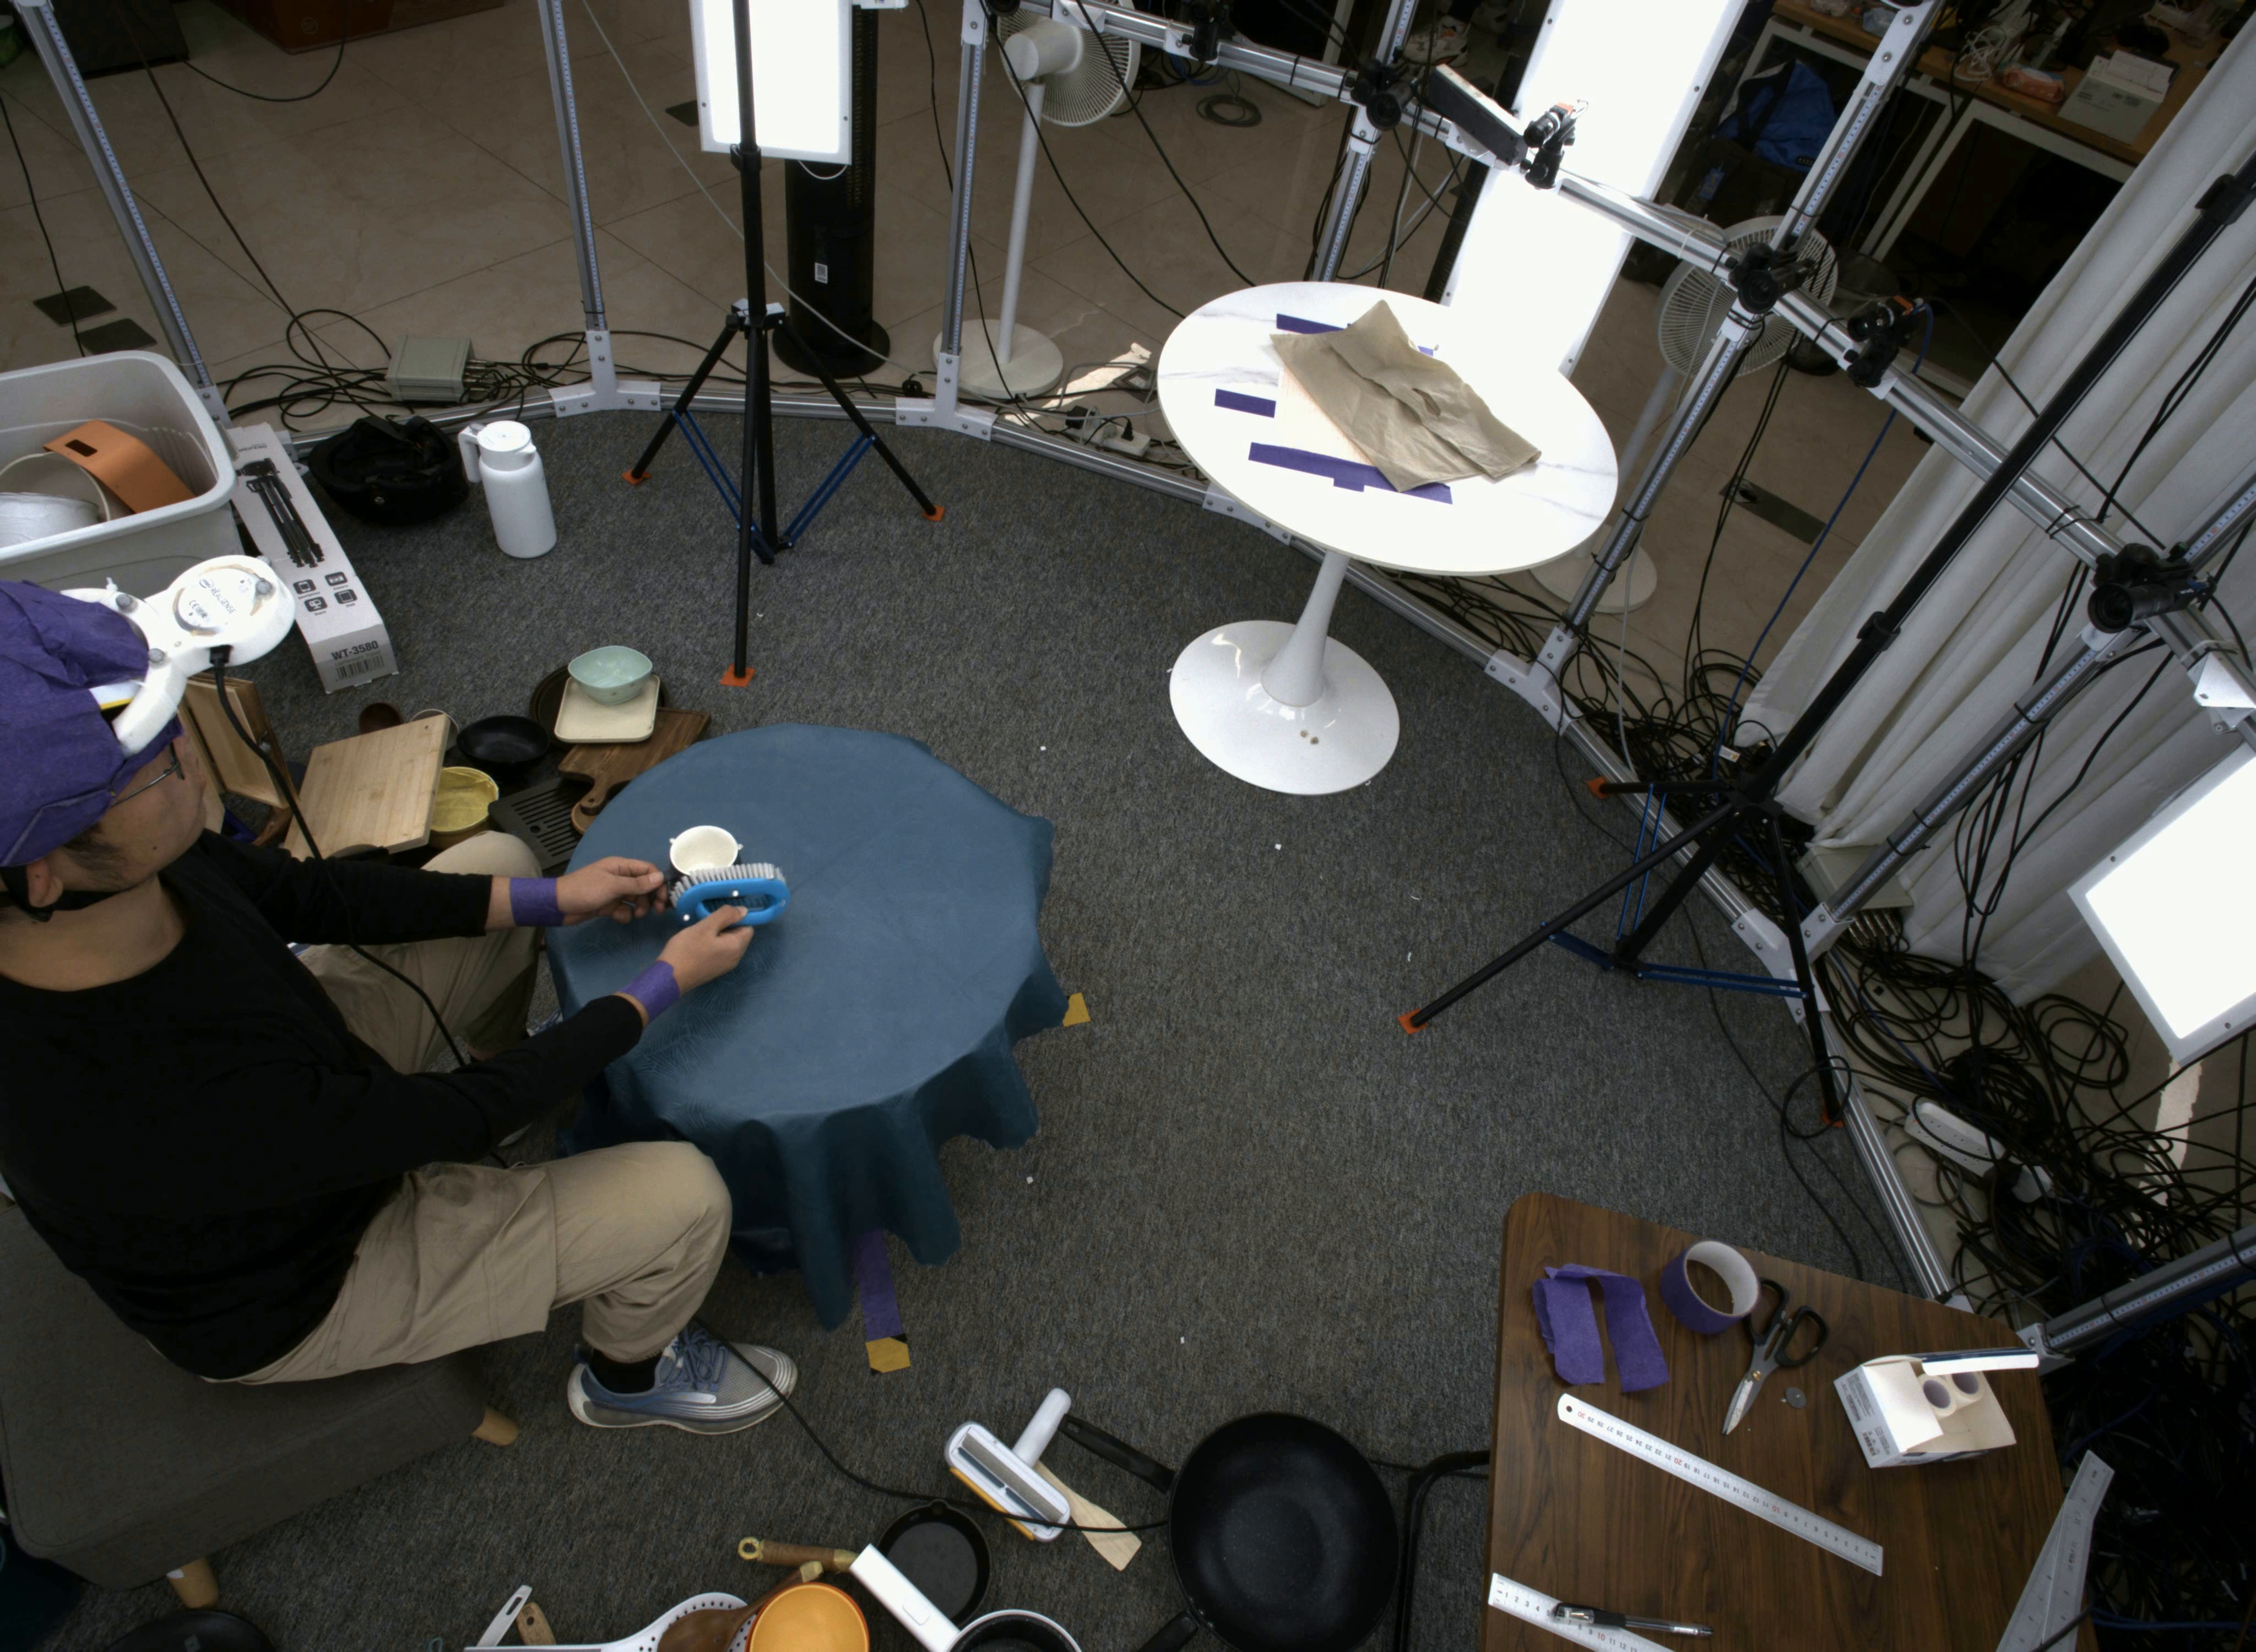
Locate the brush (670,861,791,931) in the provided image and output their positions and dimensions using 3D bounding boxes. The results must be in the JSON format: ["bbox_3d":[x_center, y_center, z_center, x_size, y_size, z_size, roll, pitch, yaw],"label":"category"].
[{"bbox_3d":[-0.474,0.092,1.551,0.144,0.086,0.062,-2,42,-32],"label":"brush"}]

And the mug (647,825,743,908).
[{"bbox_3d":[-0.535,0.060,1.593,0.124,0.092,0.091,-24,61,-30],"label":"mug"}]
